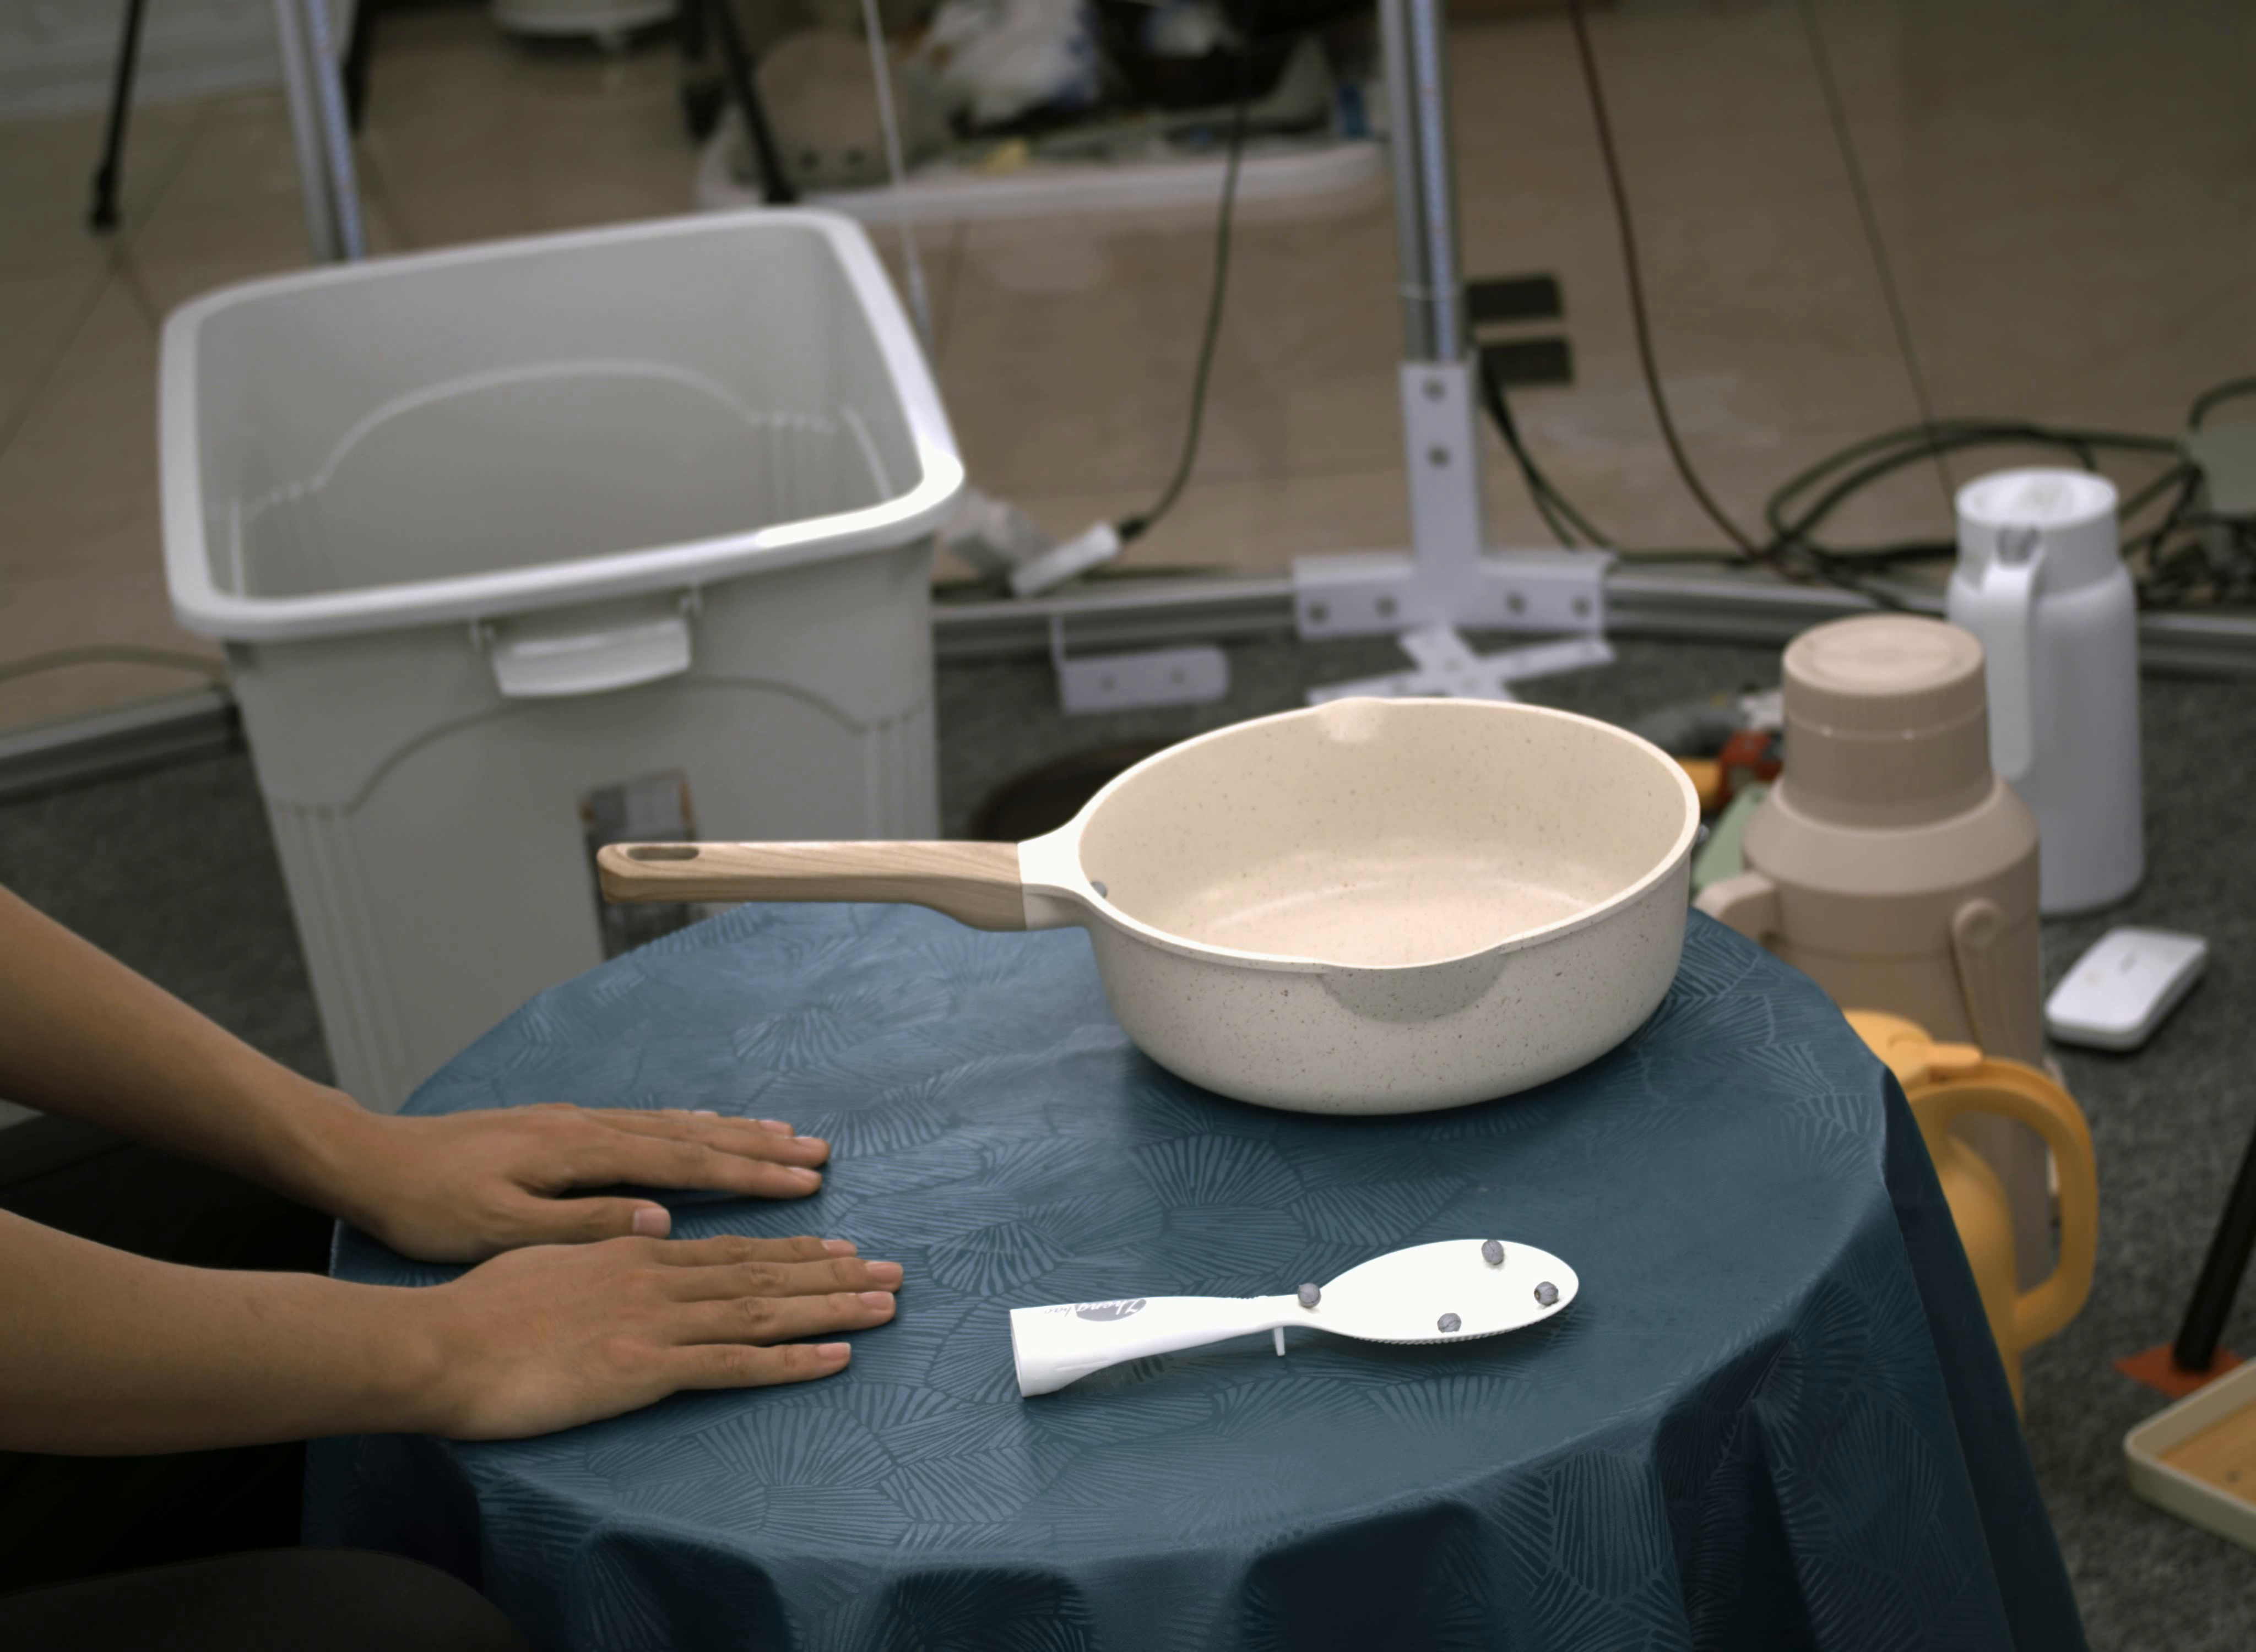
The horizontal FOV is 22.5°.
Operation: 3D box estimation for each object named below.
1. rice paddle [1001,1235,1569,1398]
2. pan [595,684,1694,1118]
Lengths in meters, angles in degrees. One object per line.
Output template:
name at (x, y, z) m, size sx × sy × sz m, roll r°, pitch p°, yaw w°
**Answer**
rice paddle at (0.057, 0.173, 2.028) m, size 0.205 × 0.030 × 0.068 m, roll -8°, pitch 27°, yaw -5°
pan at (0.010, 0.038, 2.255) m, size 0.434 × 0.104 × 0.259 m, roll -7°, pitch 27°, yaw -1°
